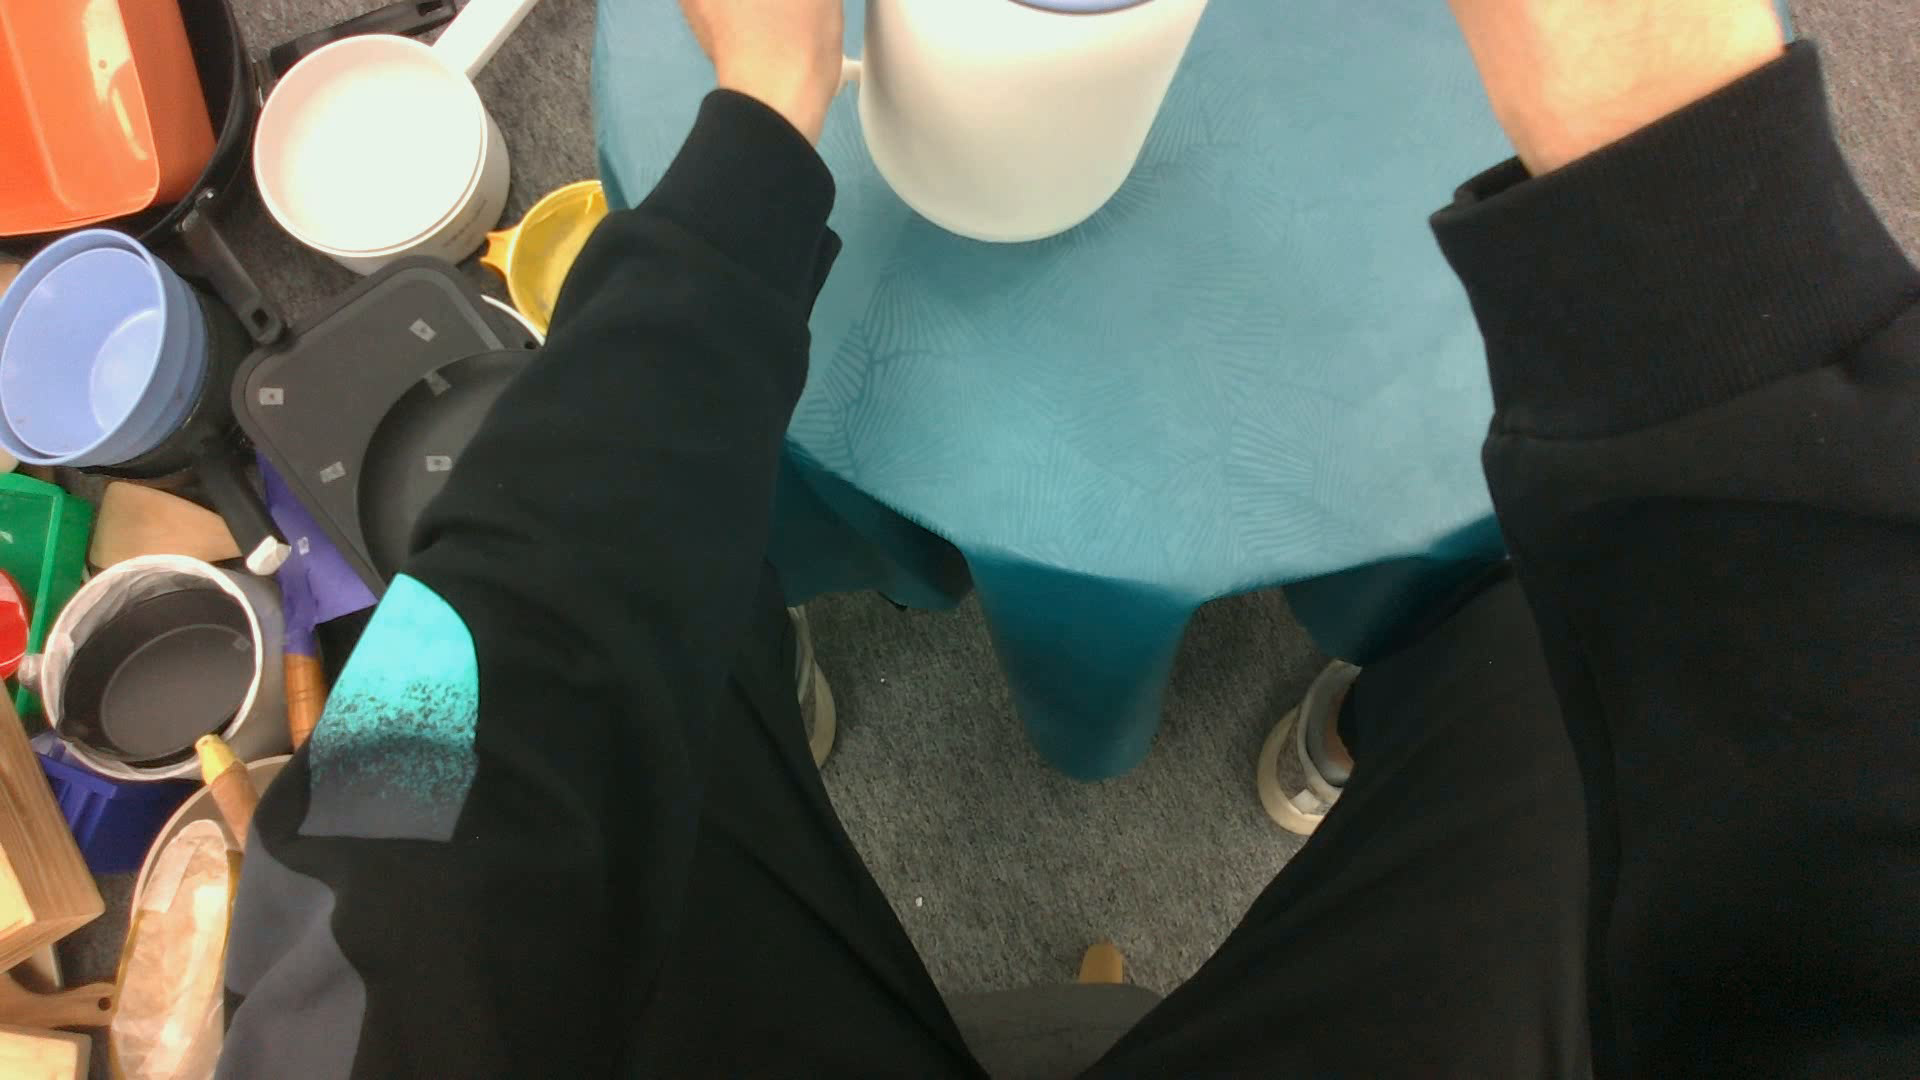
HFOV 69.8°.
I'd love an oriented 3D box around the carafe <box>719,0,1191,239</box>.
[{"bbox_3d":[-0.002,-0.219,0.558,0.191,0.182,0.132,2,74,-4],"label":"carafe"}]
